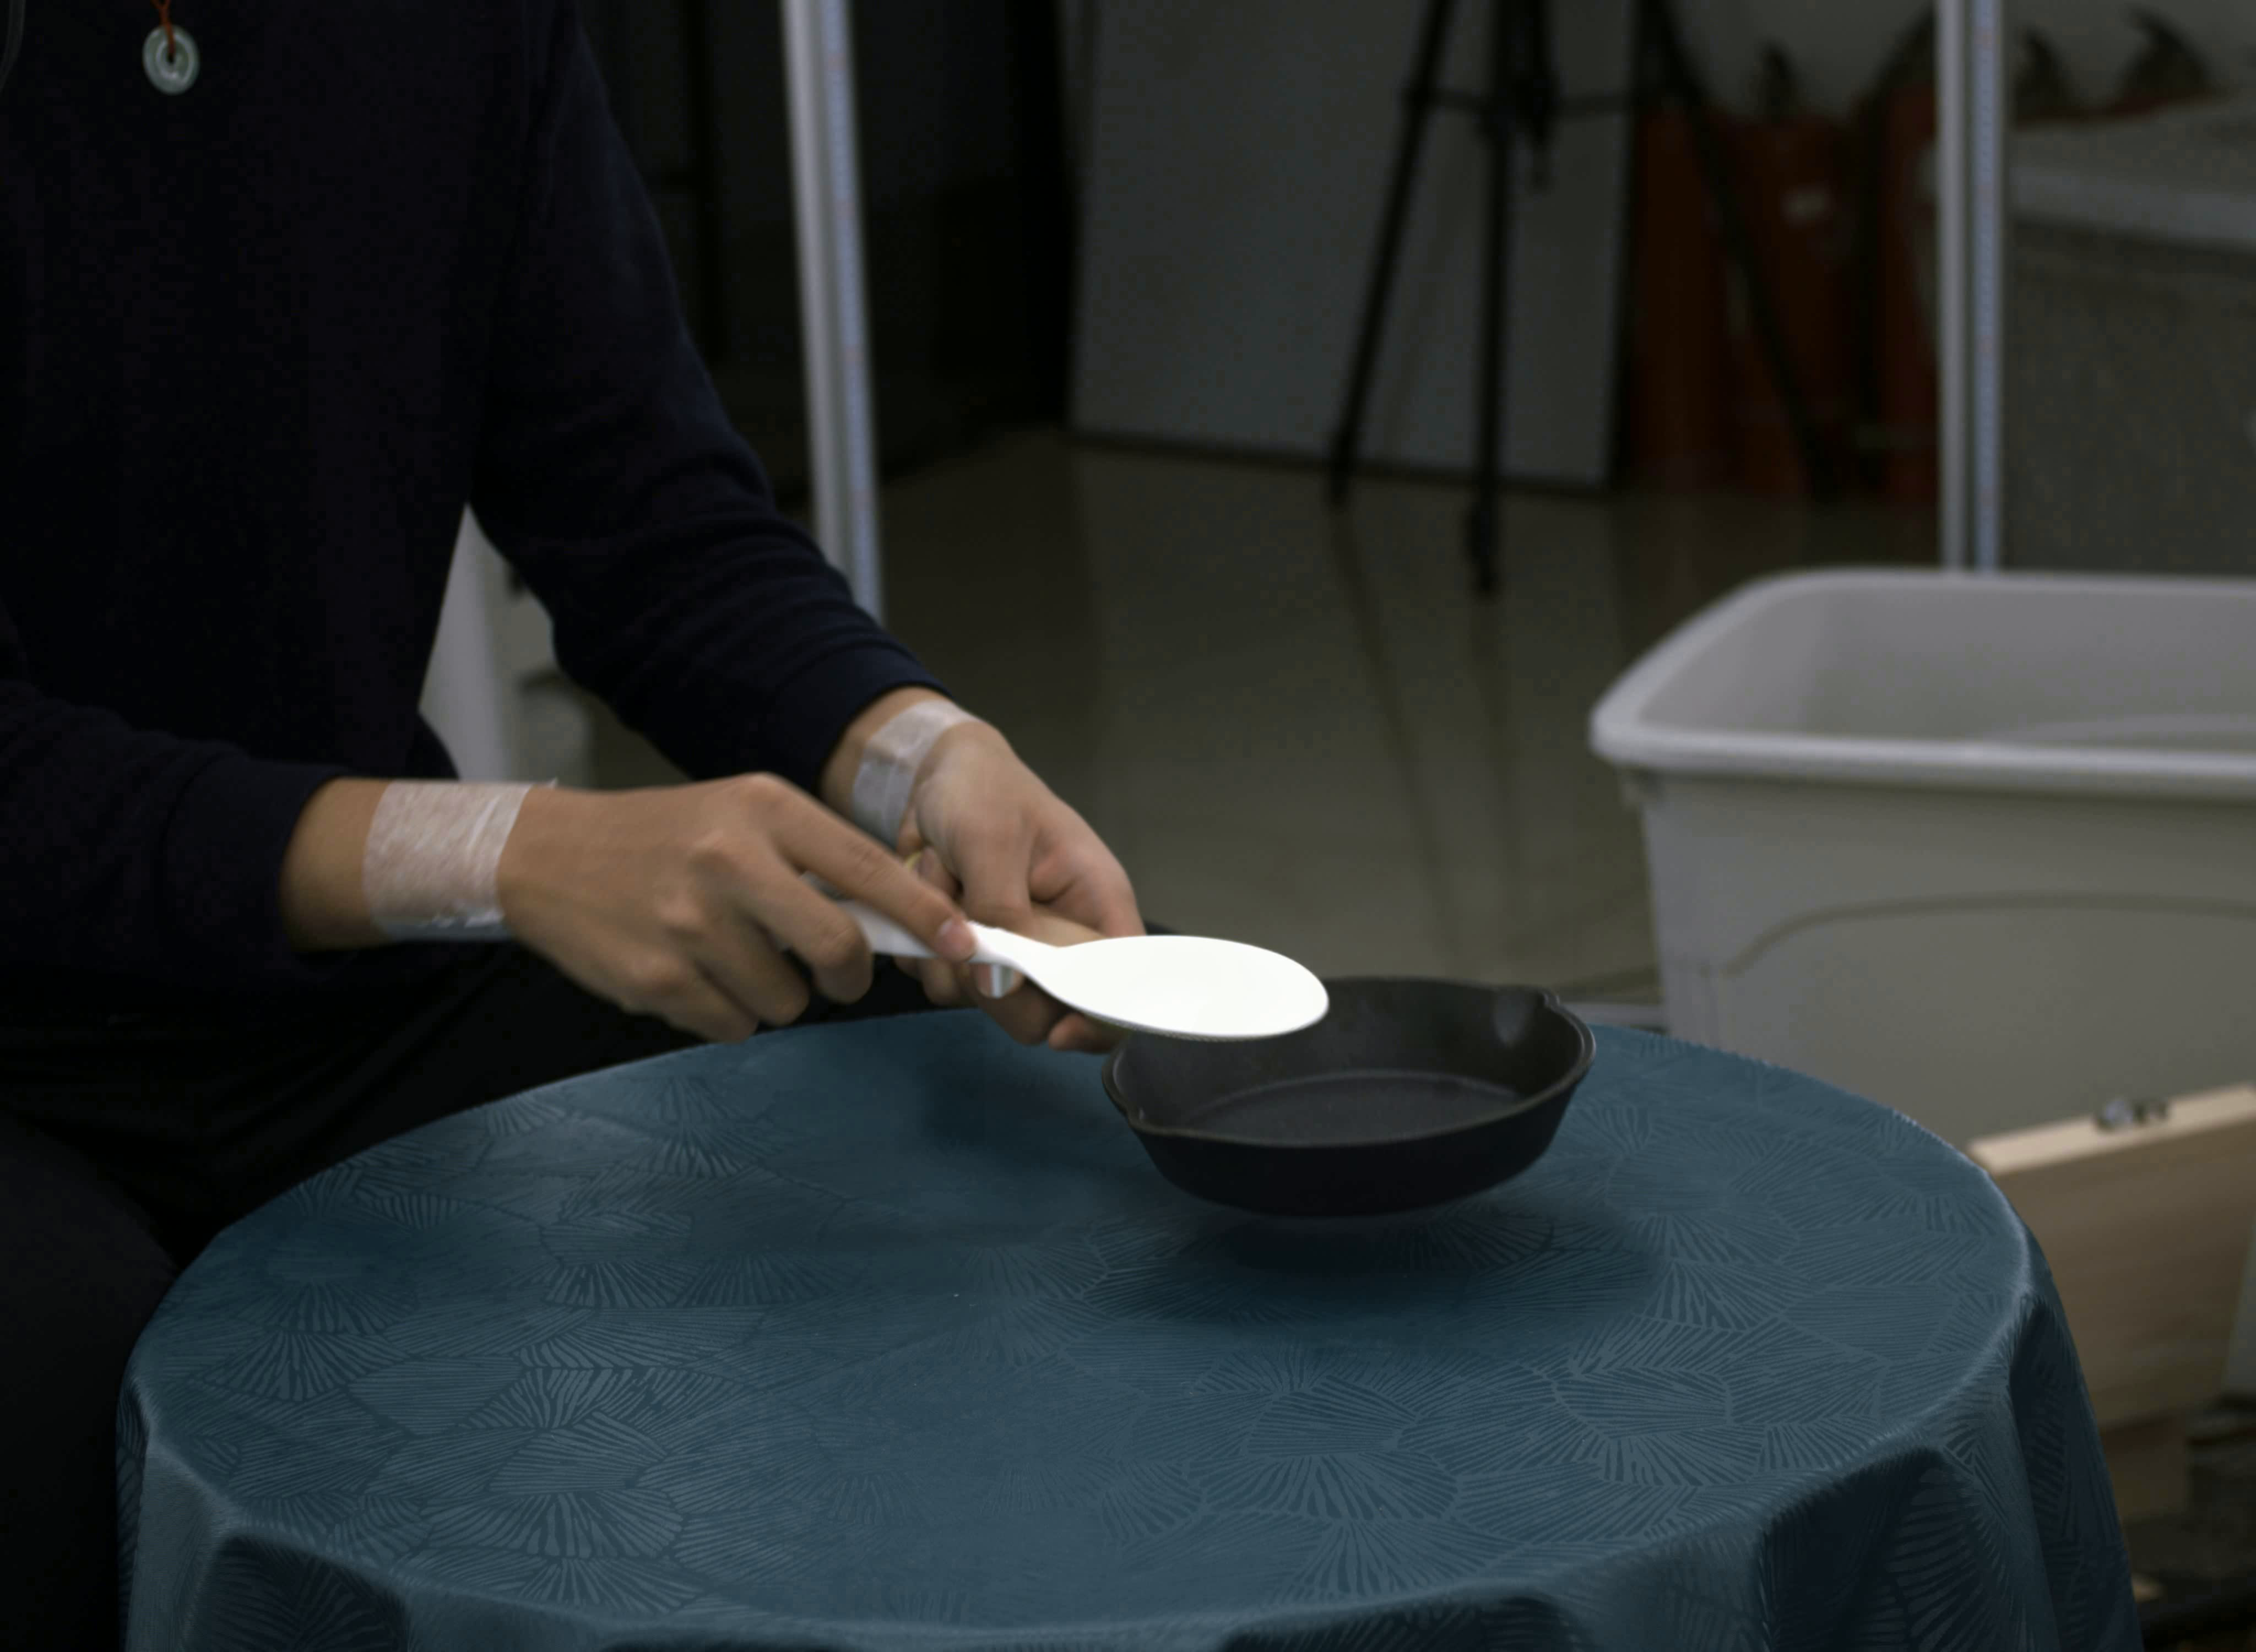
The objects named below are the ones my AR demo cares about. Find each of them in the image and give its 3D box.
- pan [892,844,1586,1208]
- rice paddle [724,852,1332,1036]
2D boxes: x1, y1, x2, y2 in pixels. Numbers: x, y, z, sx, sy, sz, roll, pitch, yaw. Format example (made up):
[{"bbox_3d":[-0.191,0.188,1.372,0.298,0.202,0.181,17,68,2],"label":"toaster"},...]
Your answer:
[{"bbox_3d":[0.020,0.061,1.770,0.165,0.050,0.328,-16,20,-32],"label":"pan"},{"bbox_3d":[-0.031,0.039,1.722,0.205,0.030,0.068,10,26,20],"label":"rice paddle"}]
